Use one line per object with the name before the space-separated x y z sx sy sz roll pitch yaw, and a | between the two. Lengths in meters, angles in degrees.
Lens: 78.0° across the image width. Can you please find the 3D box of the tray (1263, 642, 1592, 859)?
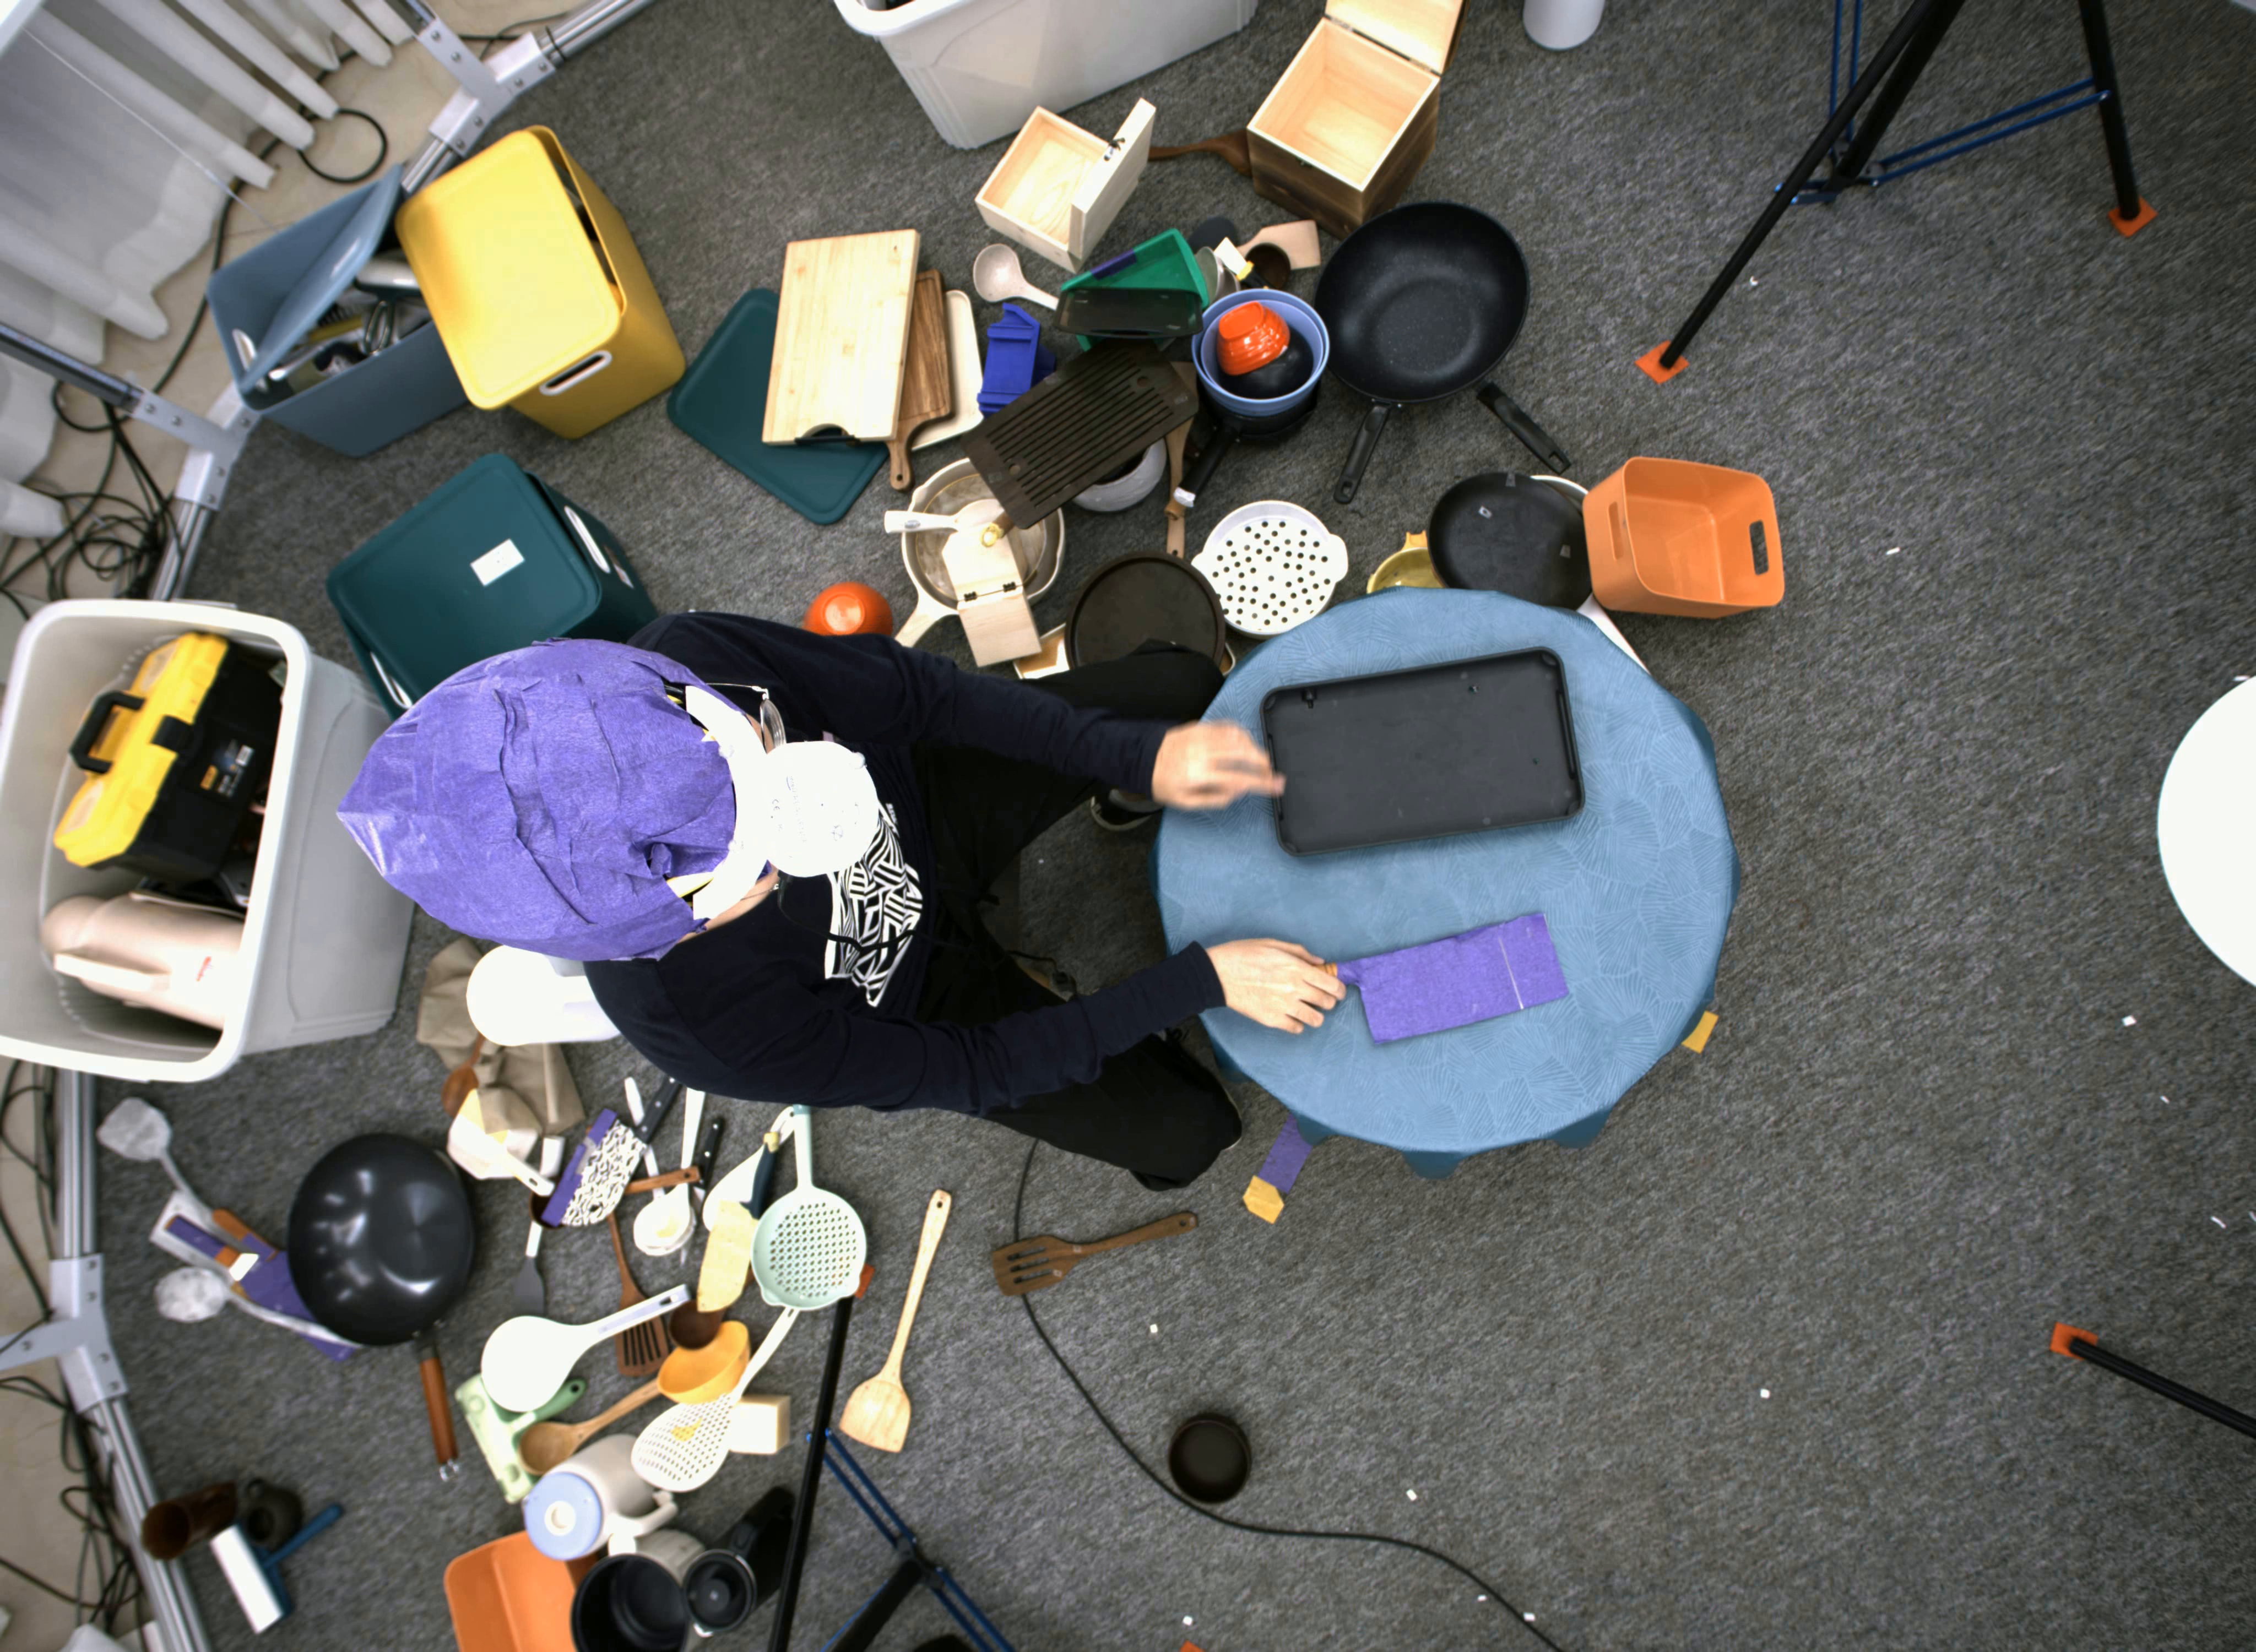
tray | 0.311 -0.078 1.444 0.320 0.037 0.183 -10 85 11

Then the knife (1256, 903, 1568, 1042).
knife | 0.295 0.168 1.432 0.317 0.032 0.103 -16 83 7
